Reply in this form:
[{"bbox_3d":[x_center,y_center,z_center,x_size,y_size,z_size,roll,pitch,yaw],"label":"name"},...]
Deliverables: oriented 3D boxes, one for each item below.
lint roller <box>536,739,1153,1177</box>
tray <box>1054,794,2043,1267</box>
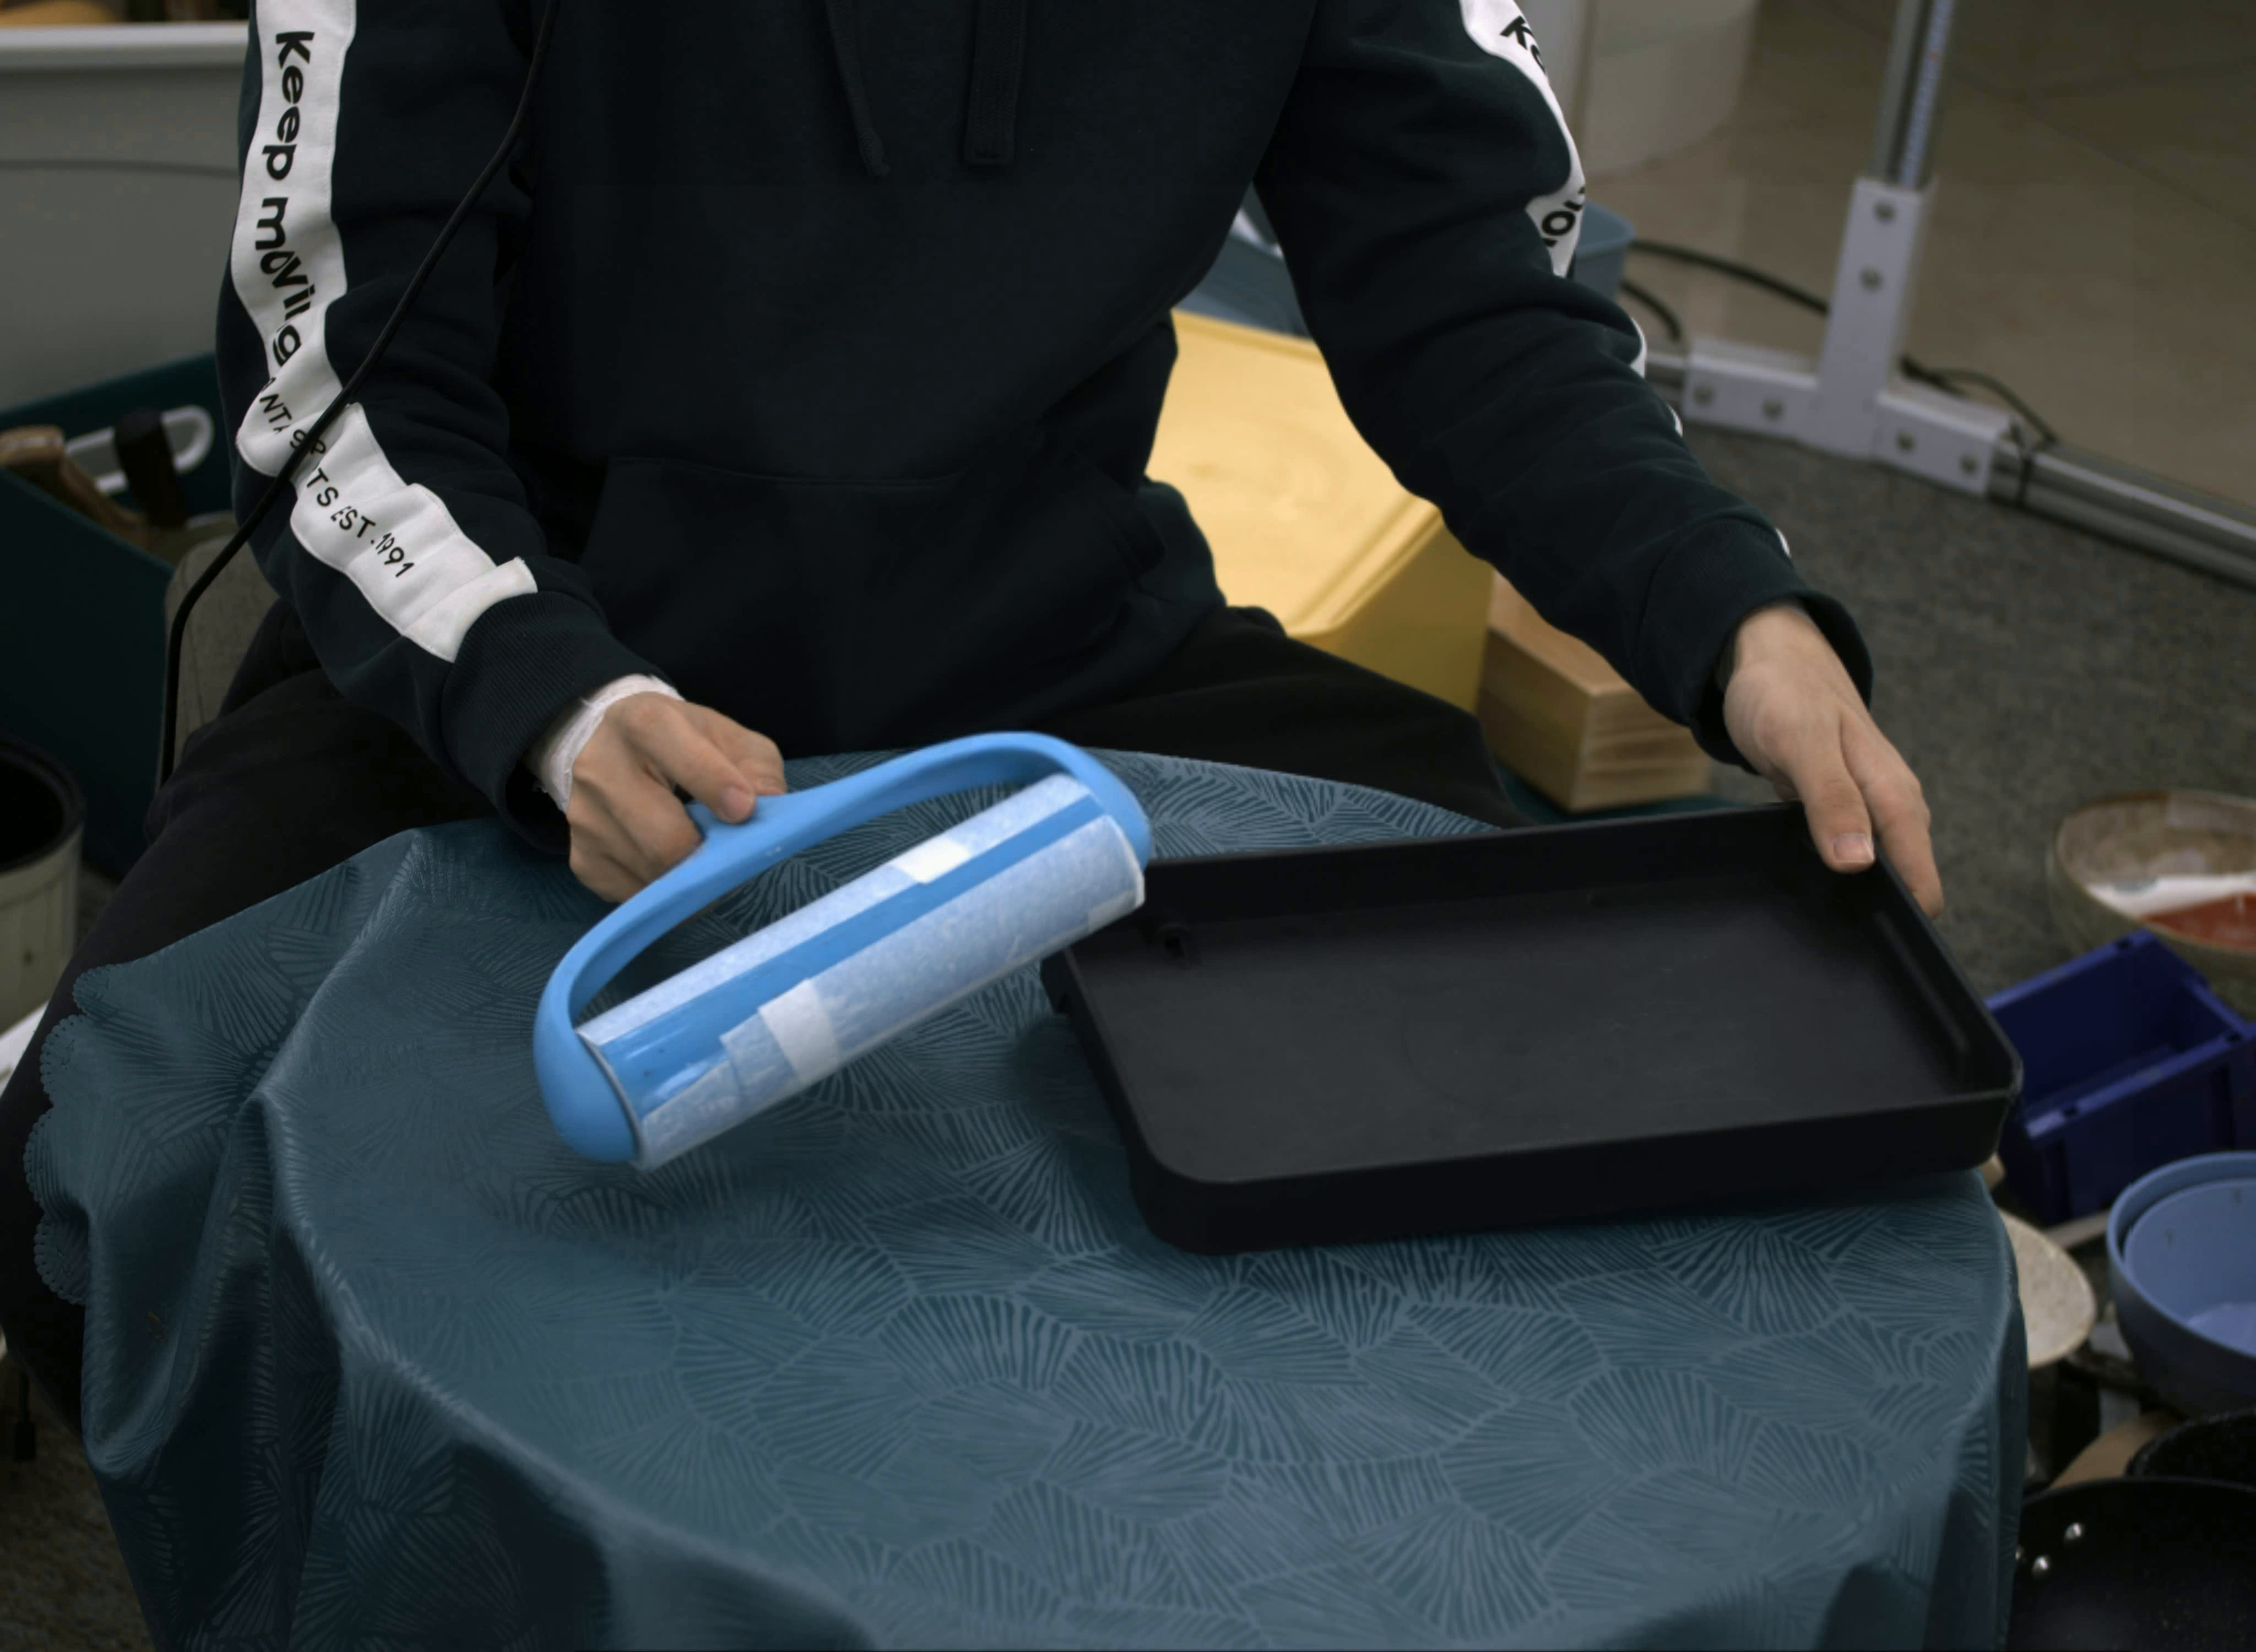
[{"bbox_3d":[-0.123,0.025,1.810,0.228,0.067,0.182,-31,38,-21],"label":"lint roller"},{"bbox_3d":[0.143,0.068,1.864,0.316,0.037,0.186,-7,35,-15],"label":"tray"}]
